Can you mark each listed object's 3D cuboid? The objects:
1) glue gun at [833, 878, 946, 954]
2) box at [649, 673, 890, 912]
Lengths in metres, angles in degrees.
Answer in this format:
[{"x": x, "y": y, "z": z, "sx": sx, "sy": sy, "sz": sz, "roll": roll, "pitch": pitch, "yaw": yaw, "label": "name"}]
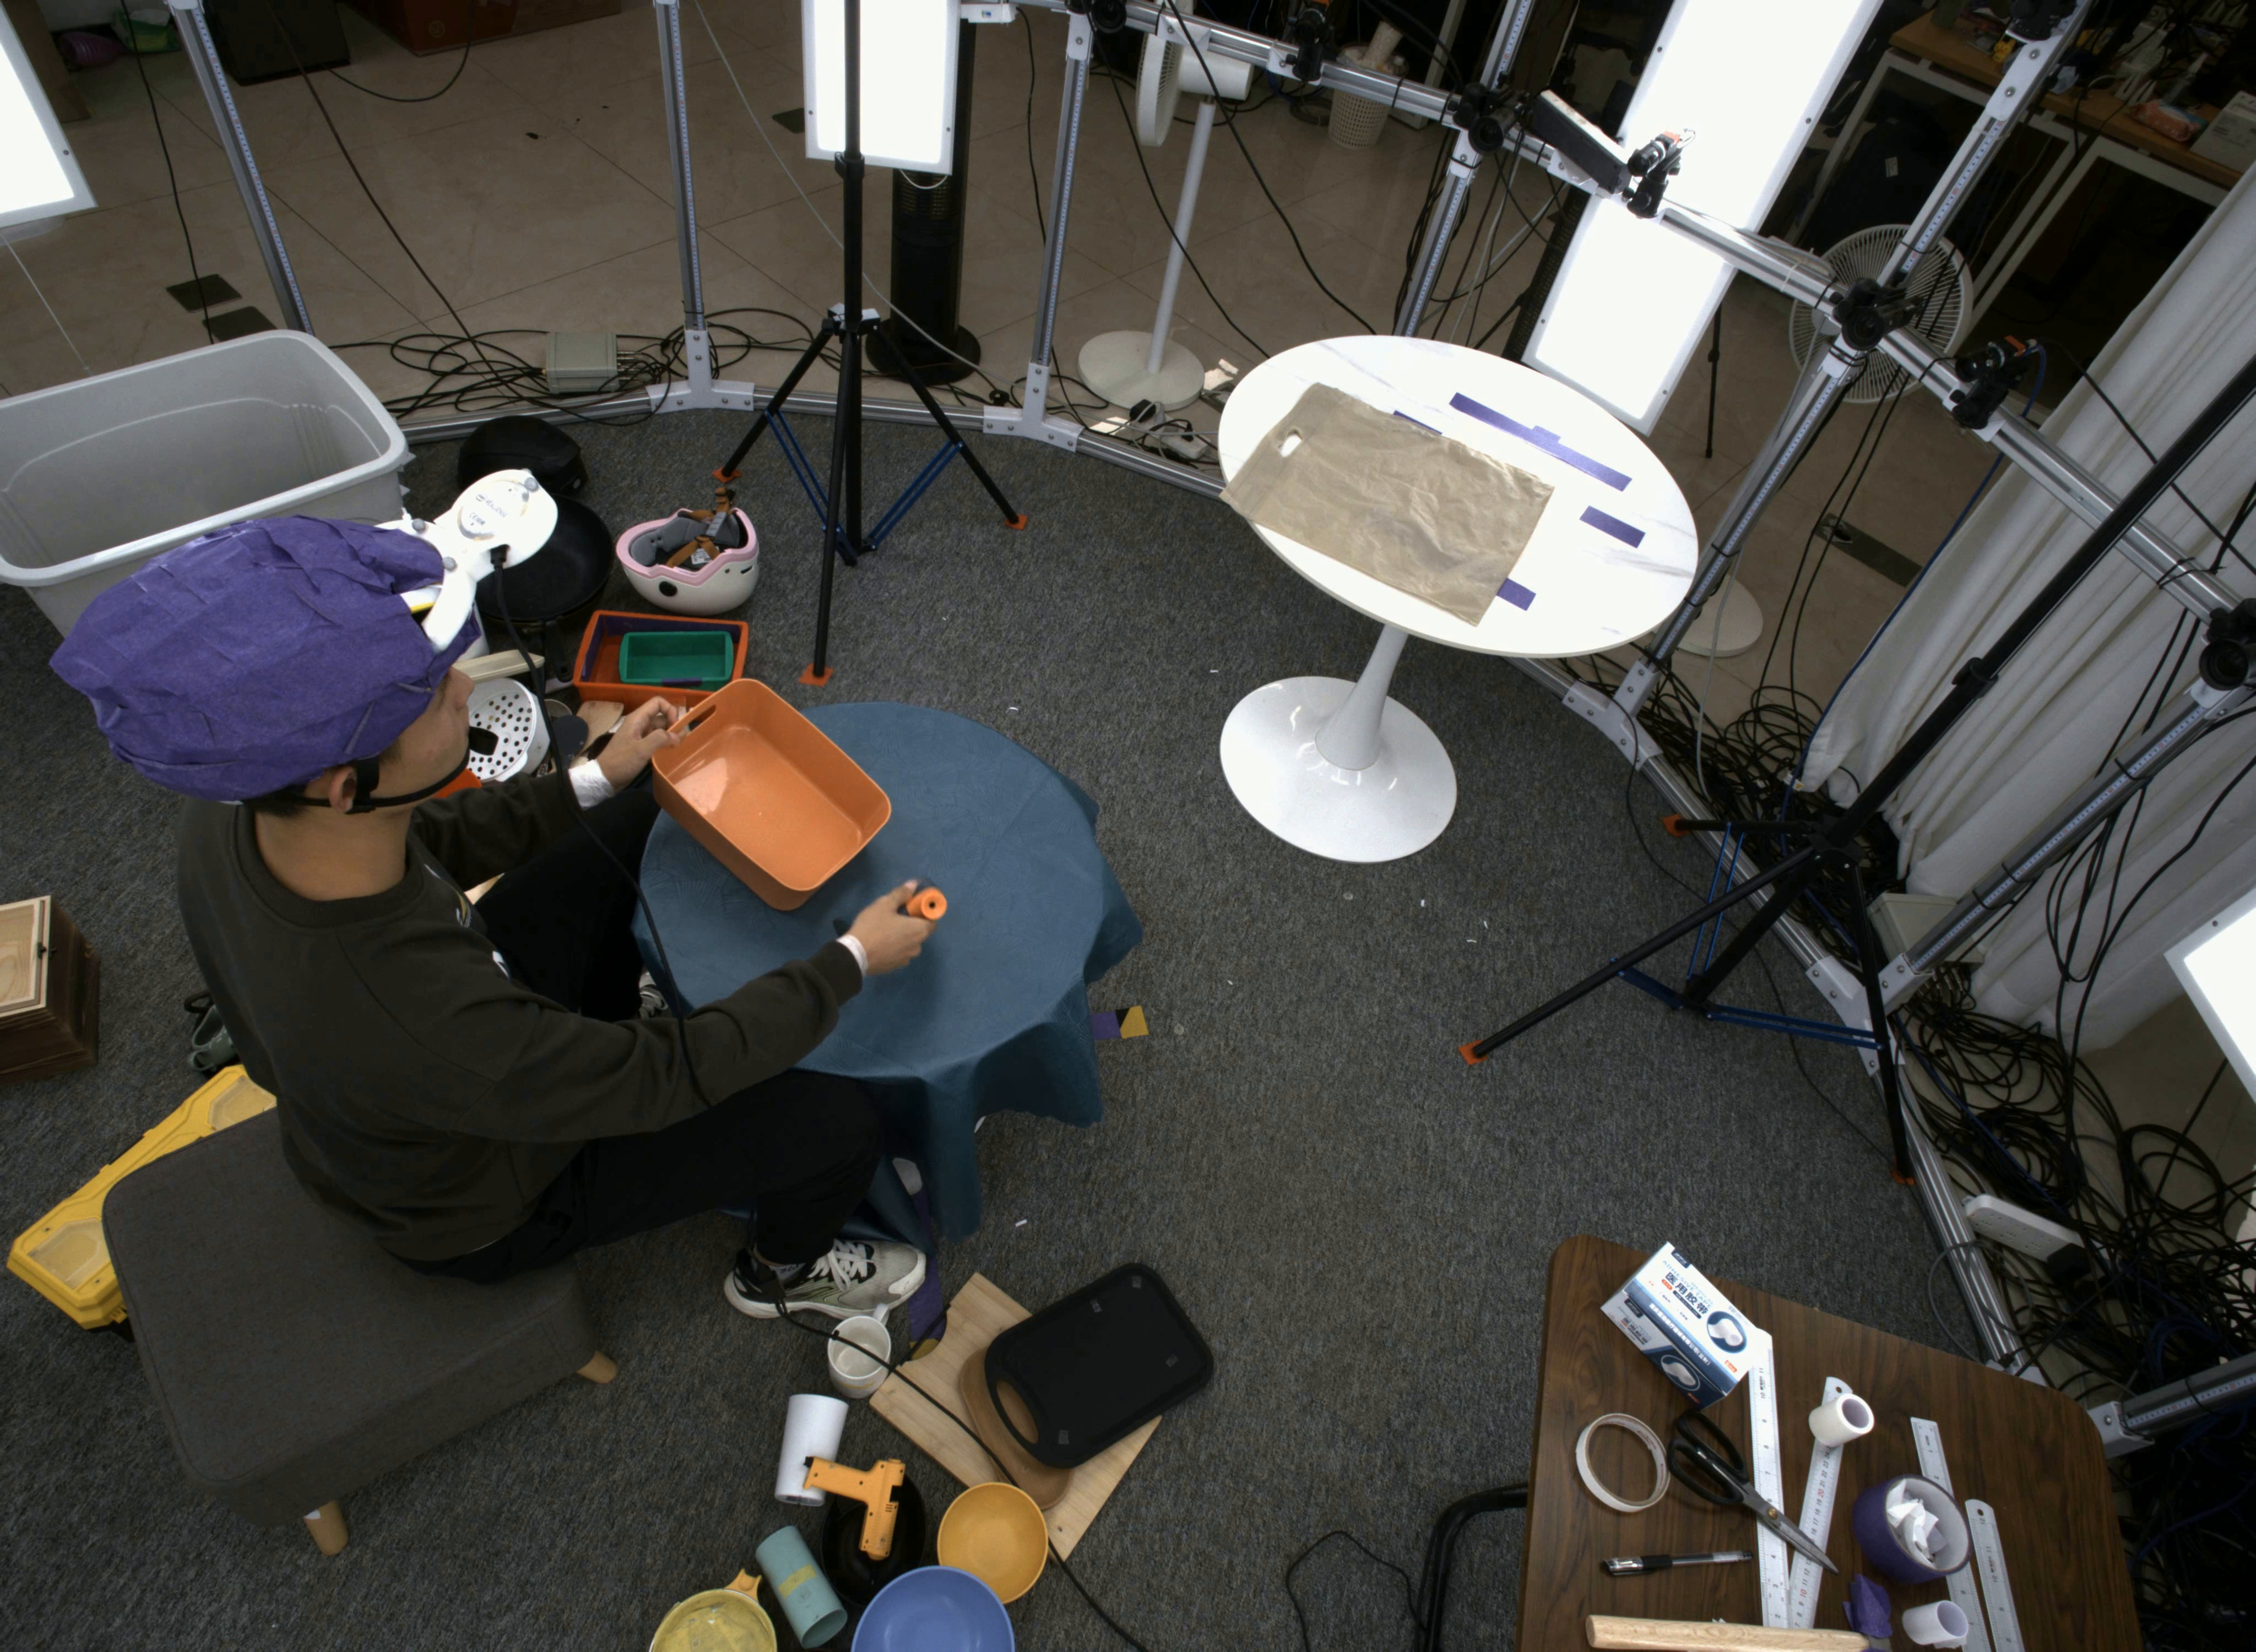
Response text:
[{"x": -0.281, "y": 0.101, "z": 1.567, "sx": 0.140, "sy": 0.115, "sz": 0.042, "roll": -28, "pitch": 102, "yaw": -28, "label": "glue gun"}, {"x": -0.458, "y": -0.036, "z": 1.632, "sx": 0.274, "sy": 0.102, "sz": 0.199, "roll": 42, "pitch": 55, "yaw": -4, "label": "box"}]
